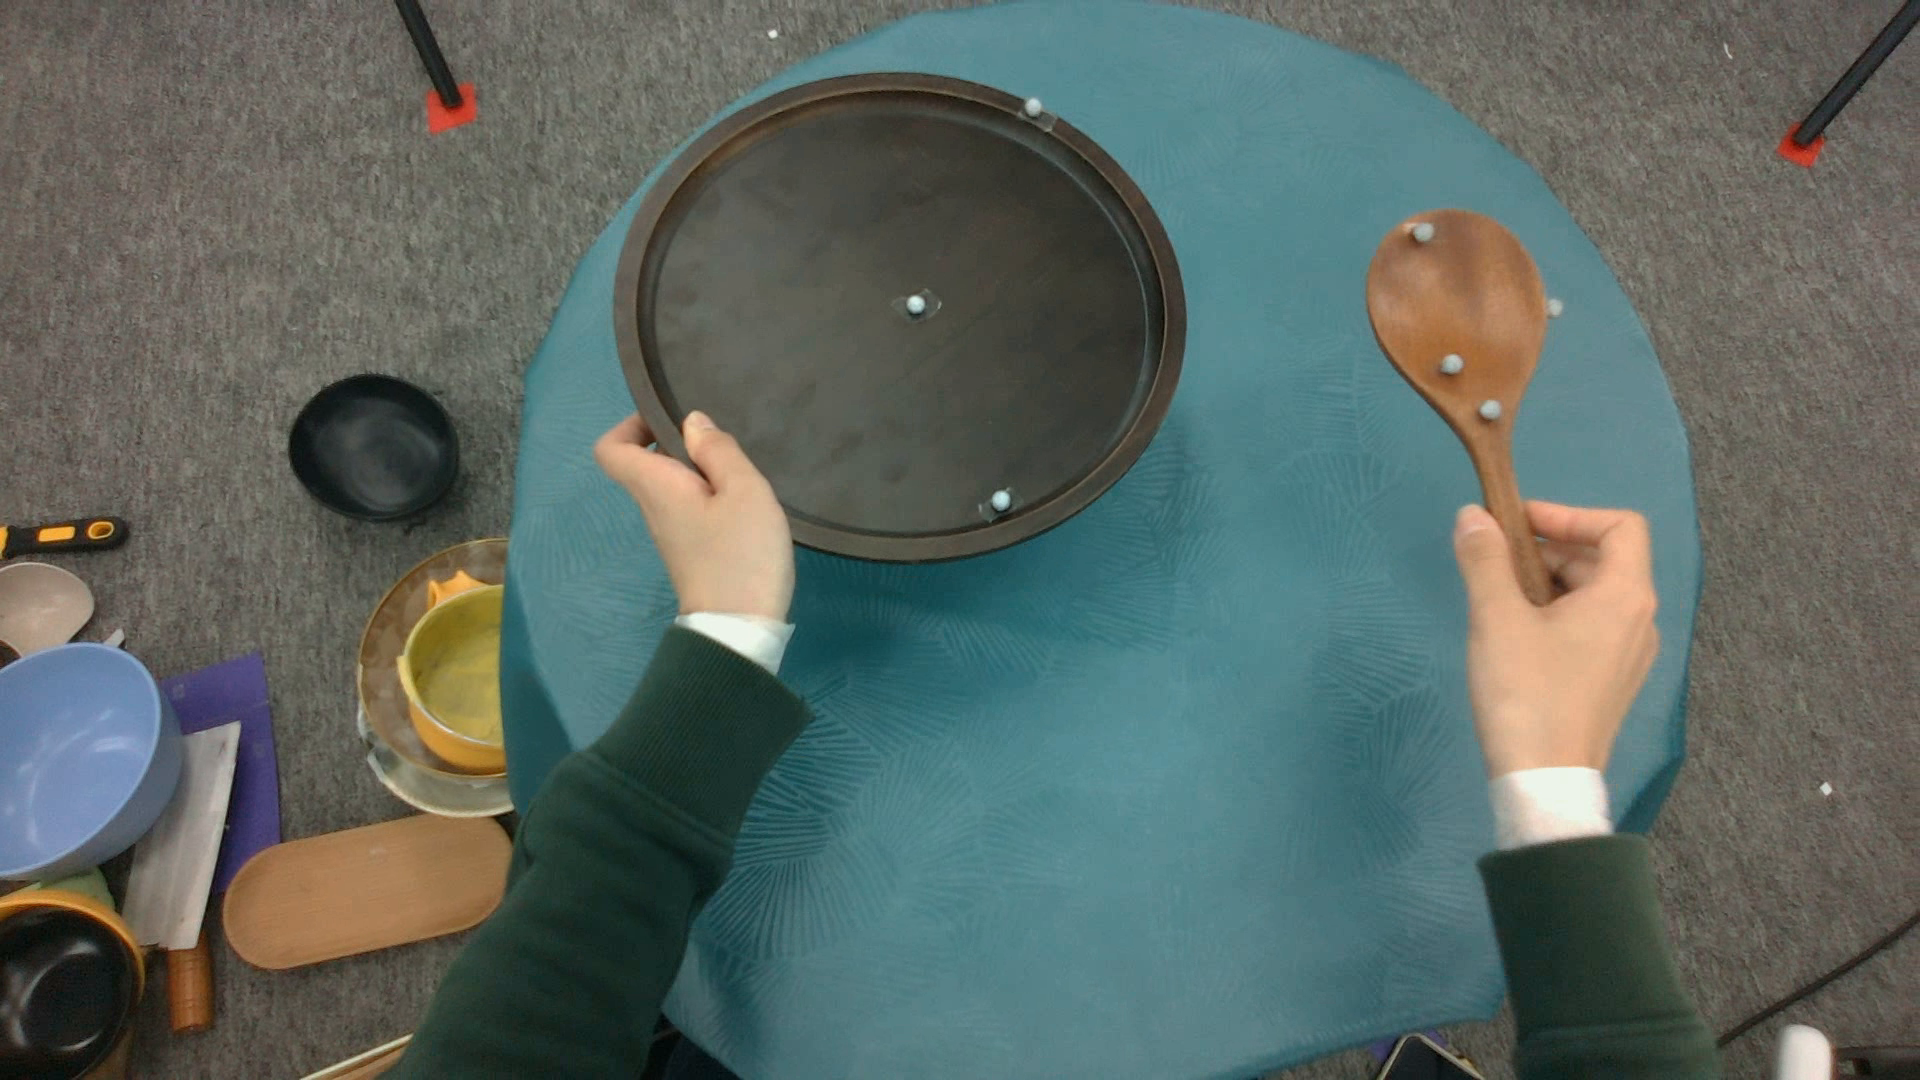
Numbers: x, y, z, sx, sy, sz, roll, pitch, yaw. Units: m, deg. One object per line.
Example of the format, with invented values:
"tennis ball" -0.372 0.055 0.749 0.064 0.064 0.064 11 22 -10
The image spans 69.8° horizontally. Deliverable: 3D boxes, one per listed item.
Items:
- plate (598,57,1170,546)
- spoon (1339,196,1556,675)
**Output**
"plate" -0.033 -0.112 0.618 0.255 0.029 0.255 1 65 -3
"spoon" 0.210 -0.049 0.577 0.075 0.017 0.216 -7 70 -2
